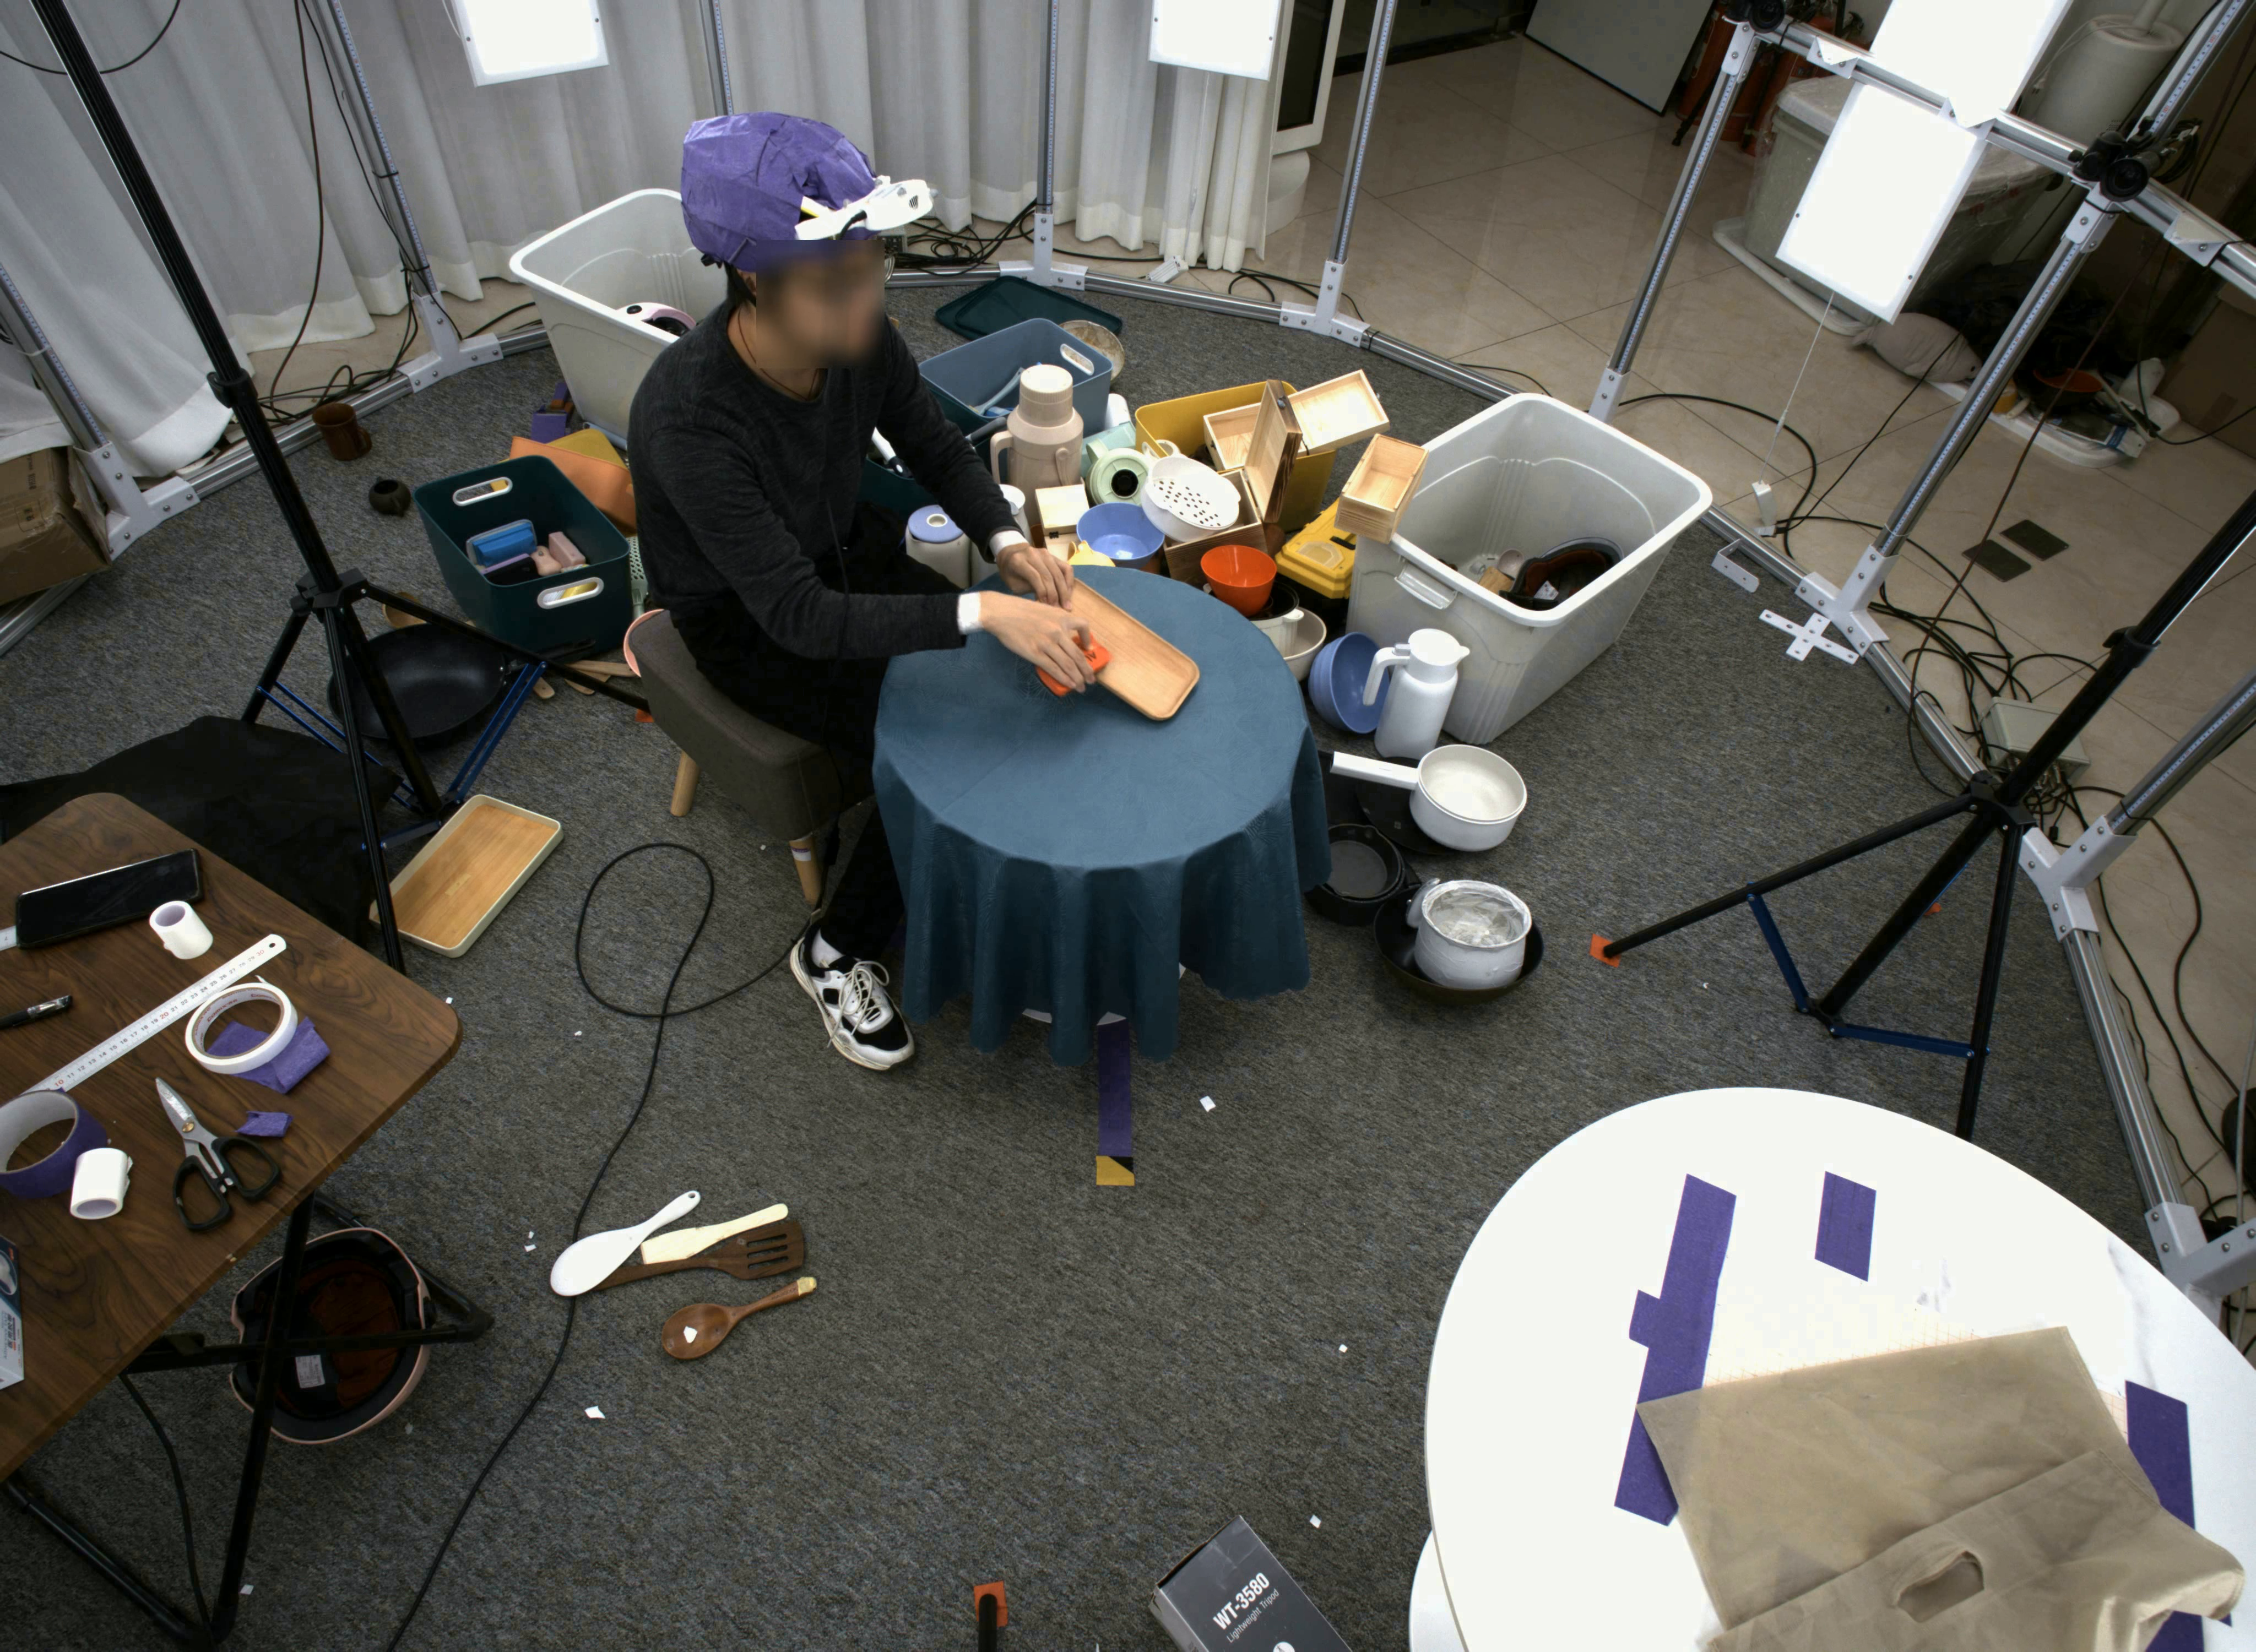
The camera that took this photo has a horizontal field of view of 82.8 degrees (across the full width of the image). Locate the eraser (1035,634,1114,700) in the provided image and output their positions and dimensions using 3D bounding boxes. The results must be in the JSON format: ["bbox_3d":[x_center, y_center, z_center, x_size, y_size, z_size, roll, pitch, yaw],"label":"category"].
[{"bbox_3d":[-0.073,-0.219,1.766,0.059,0.022,0.109,45,56,12],"label":"eraser"}]

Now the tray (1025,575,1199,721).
[{"bbox_3d":[-0.022,-0.253,1.826,0.251,0.022,0.133,36,54,2],"label":"tray"}]
